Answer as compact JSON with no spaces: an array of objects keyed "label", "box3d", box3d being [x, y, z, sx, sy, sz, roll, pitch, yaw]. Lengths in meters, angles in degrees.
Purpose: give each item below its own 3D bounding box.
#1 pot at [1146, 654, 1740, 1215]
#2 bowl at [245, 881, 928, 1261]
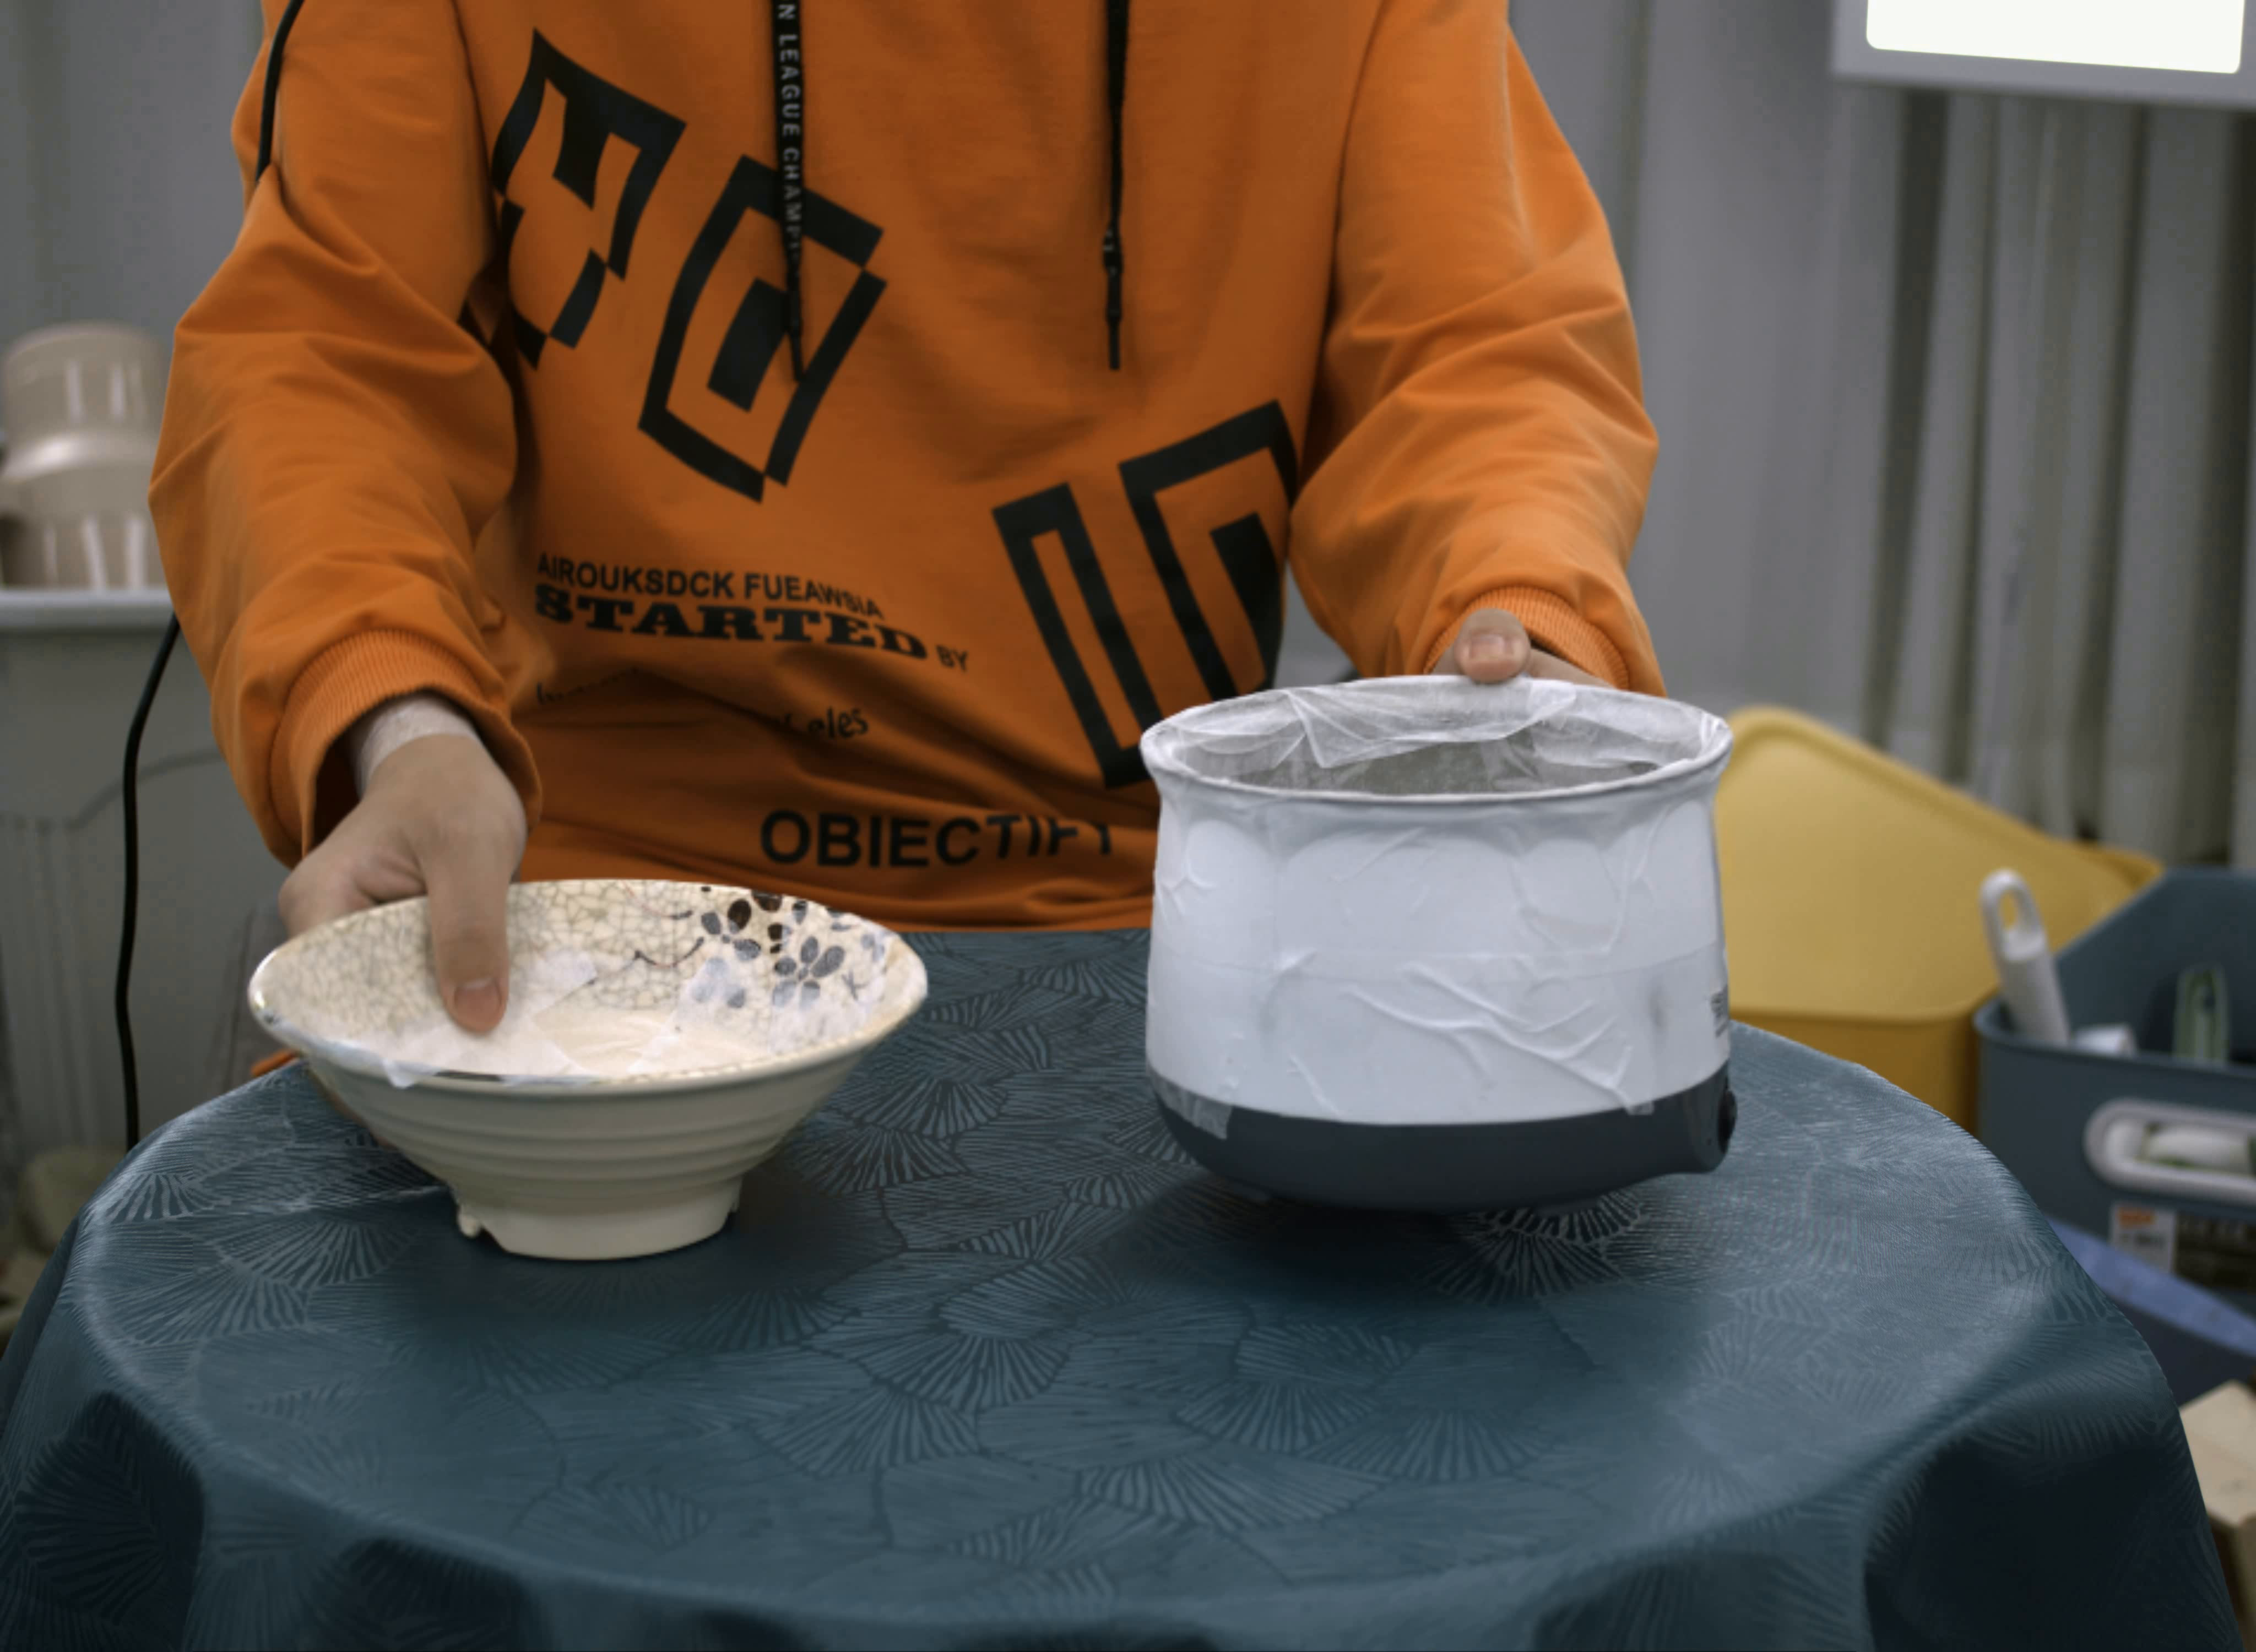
[{"label":"pot","box3d":[0.101,0.028,1.607,0.177,0.137,0.233,2,13,12]},{"label":"bowl","box3d":[-0.163,0.080,1.582,0.203,0.078,0.203,4,15,0]}]
